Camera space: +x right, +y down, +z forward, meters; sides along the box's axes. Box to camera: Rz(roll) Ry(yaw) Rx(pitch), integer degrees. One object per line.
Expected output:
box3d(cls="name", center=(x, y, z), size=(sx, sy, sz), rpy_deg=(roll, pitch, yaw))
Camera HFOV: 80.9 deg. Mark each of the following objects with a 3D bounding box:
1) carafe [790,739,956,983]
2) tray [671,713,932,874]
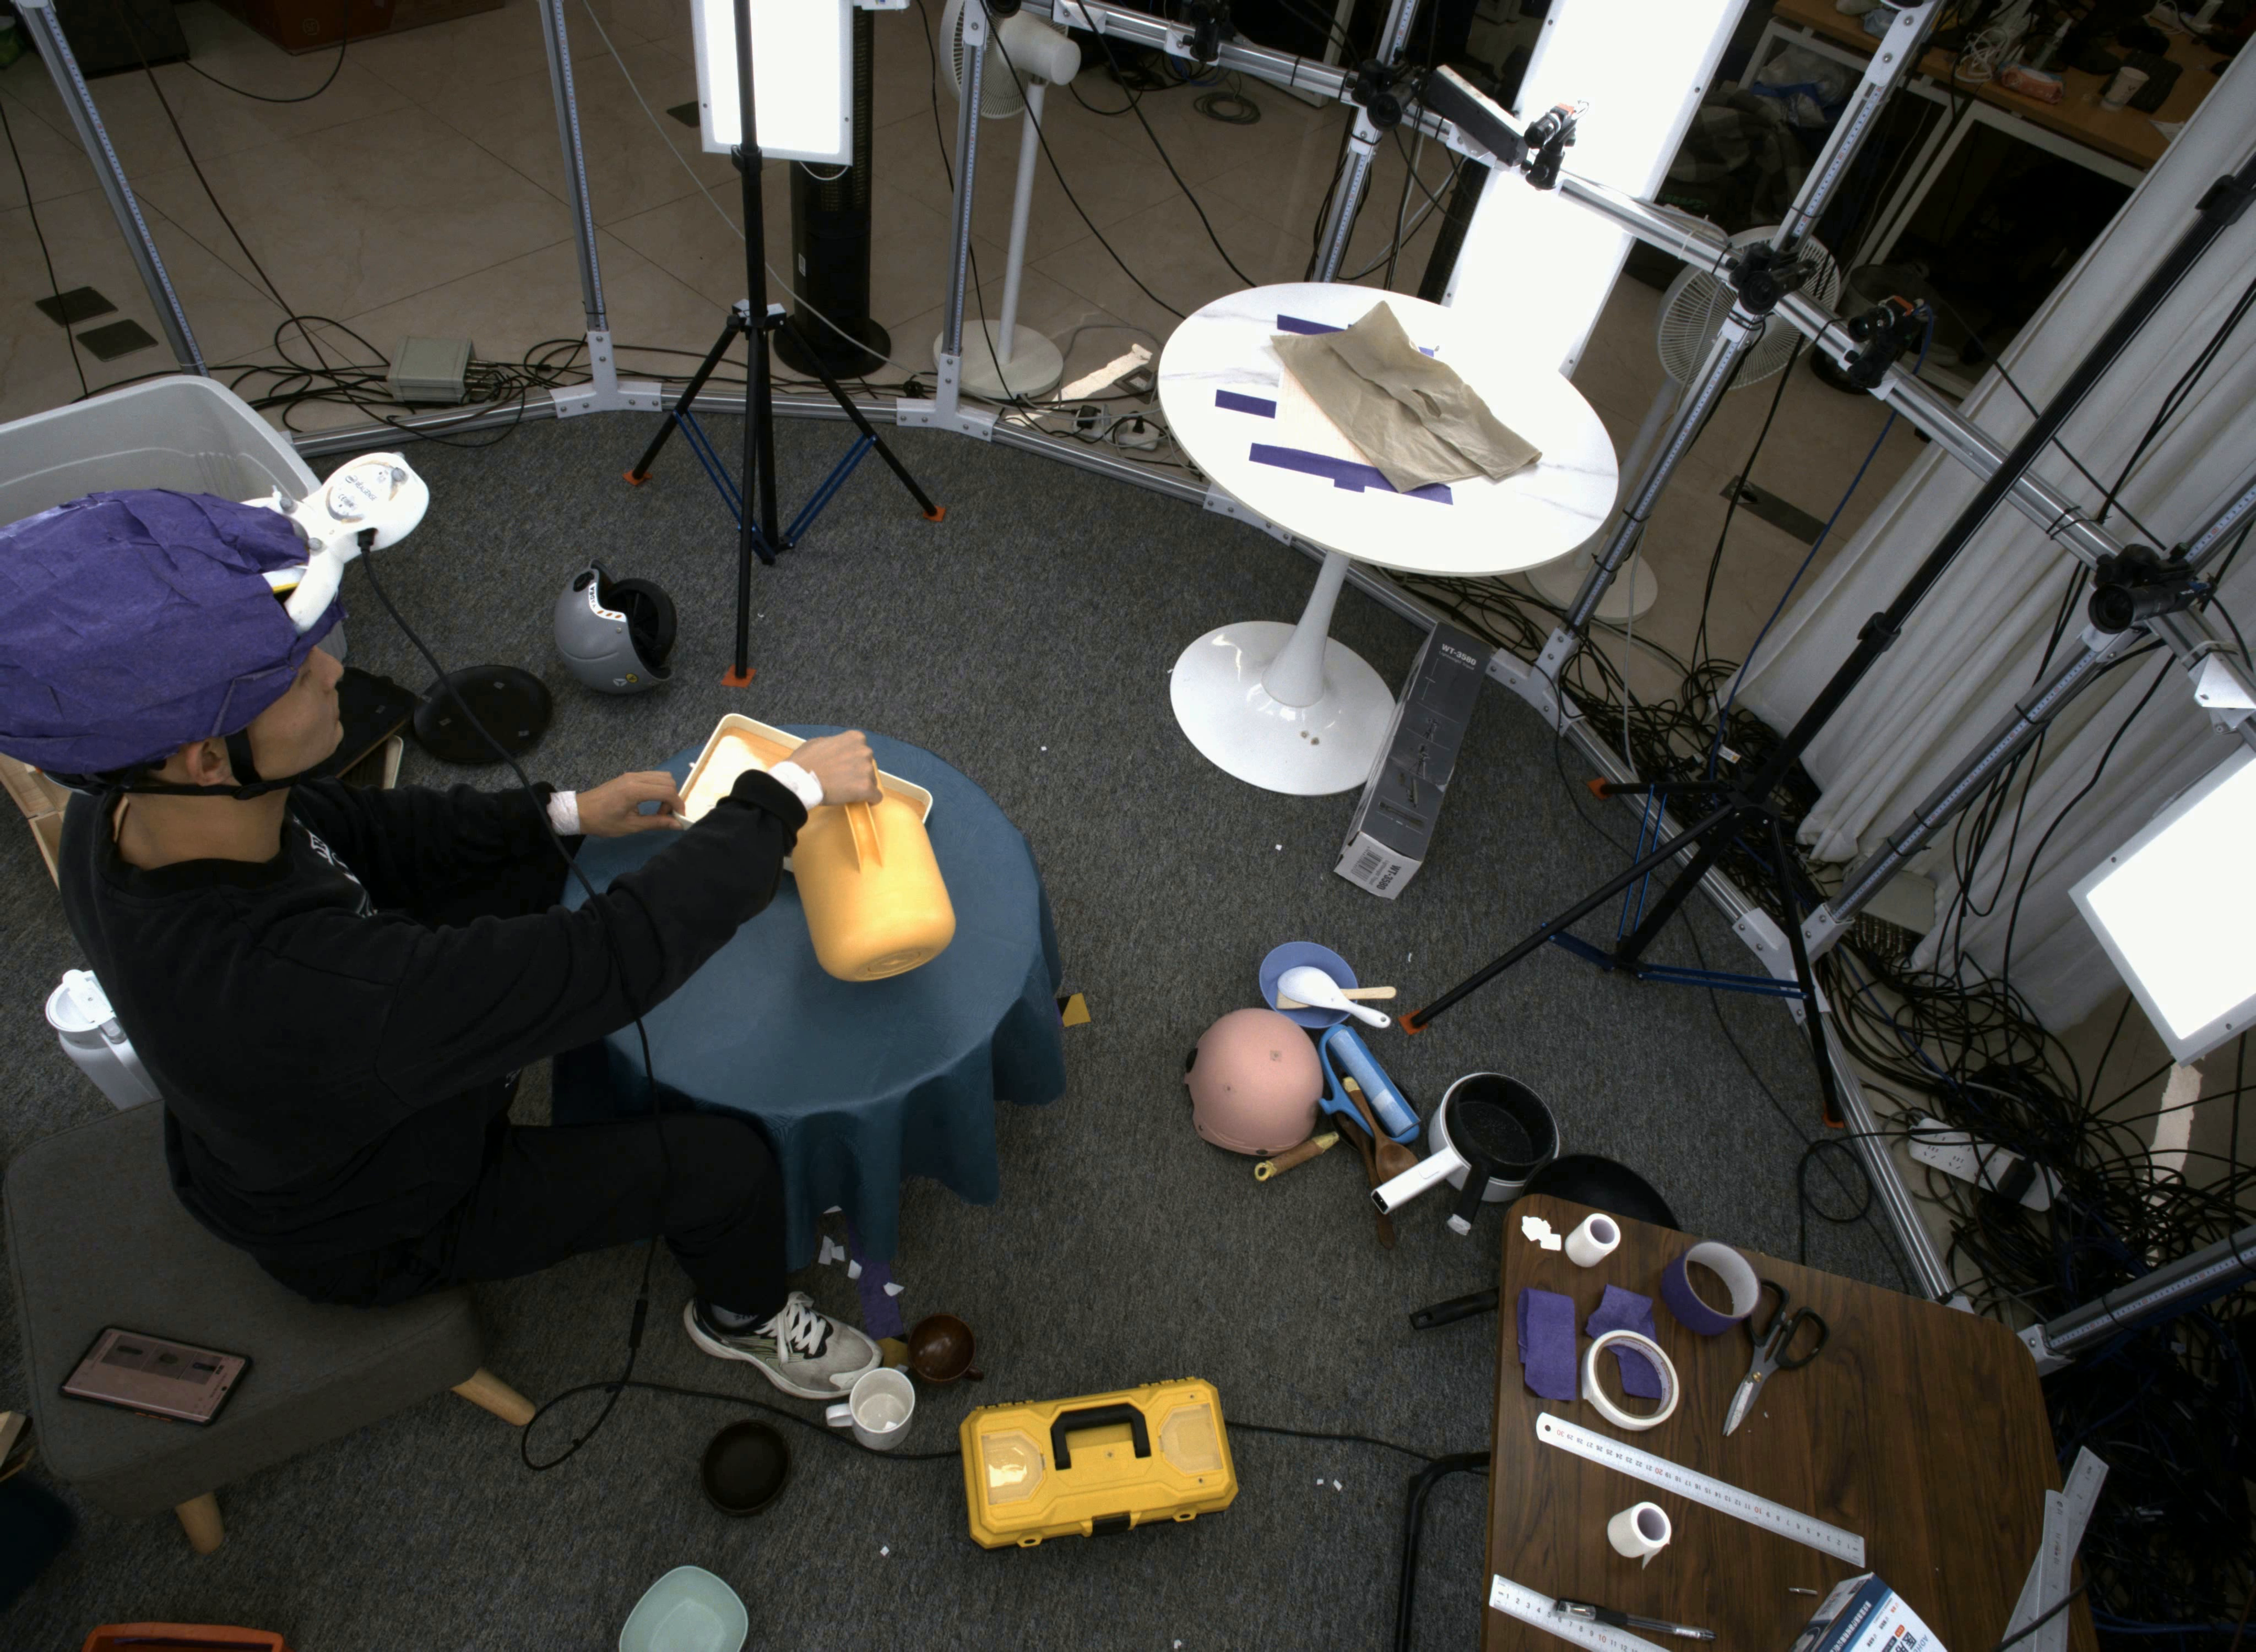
box3d(cls="carafe", center=(-0.307, 0.031, 1.489), size=(0.163, 0.204, 0.258), rpy_deg=(-19, 74, -15))
box3d(cls="tray", center=(-0.421, -0.024, 1.689), size=(0.301, 0.027, 0.189), rpy_deg=(23, 50, -10))
